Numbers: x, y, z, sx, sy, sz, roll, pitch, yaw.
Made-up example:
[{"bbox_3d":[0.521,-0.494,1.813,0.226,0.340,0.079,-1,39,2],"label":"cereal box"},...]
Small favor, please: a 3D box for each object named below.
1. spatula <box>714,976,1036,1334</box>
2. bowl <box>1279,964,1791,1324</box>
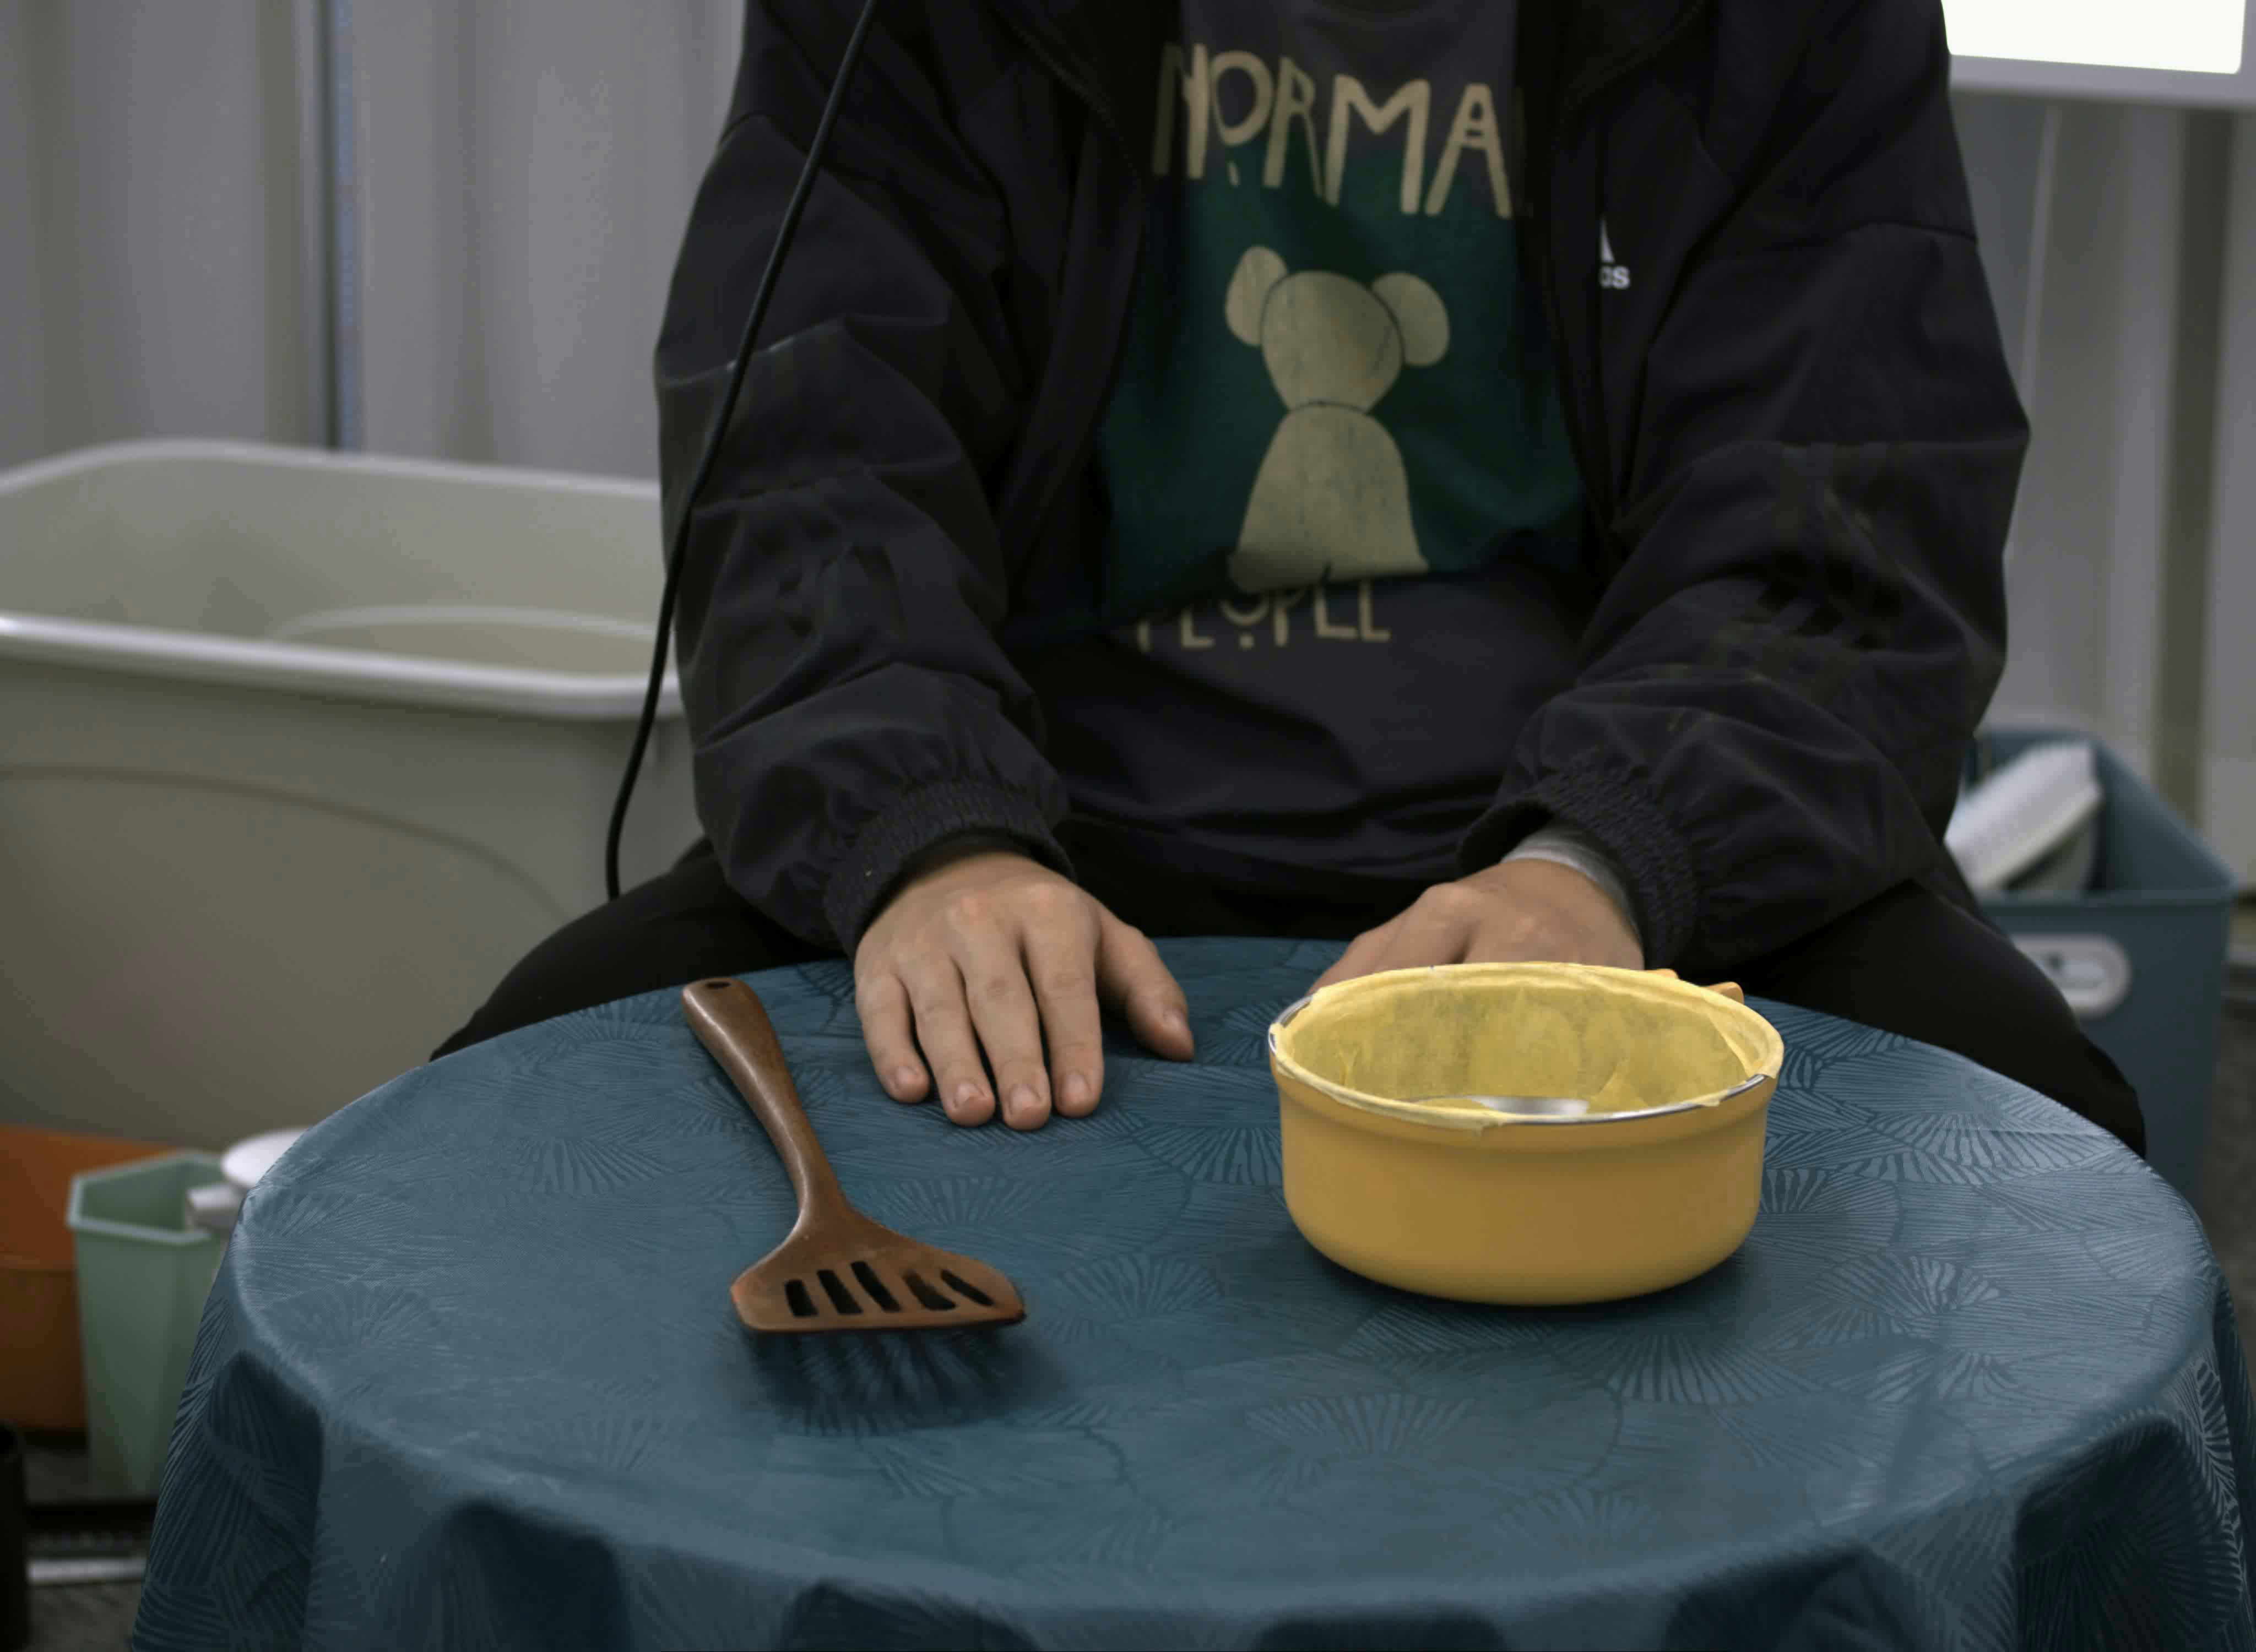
[{"bbox_3d":[-0.097,0.102,1.622,0.085,0.024,0.383,-2,14,-10],"label":"spatula"},{"bbox_3d":[0.127,0.094,1.581,0.151,0.075,0.180,11,20,31],"label":"bowl"}]
